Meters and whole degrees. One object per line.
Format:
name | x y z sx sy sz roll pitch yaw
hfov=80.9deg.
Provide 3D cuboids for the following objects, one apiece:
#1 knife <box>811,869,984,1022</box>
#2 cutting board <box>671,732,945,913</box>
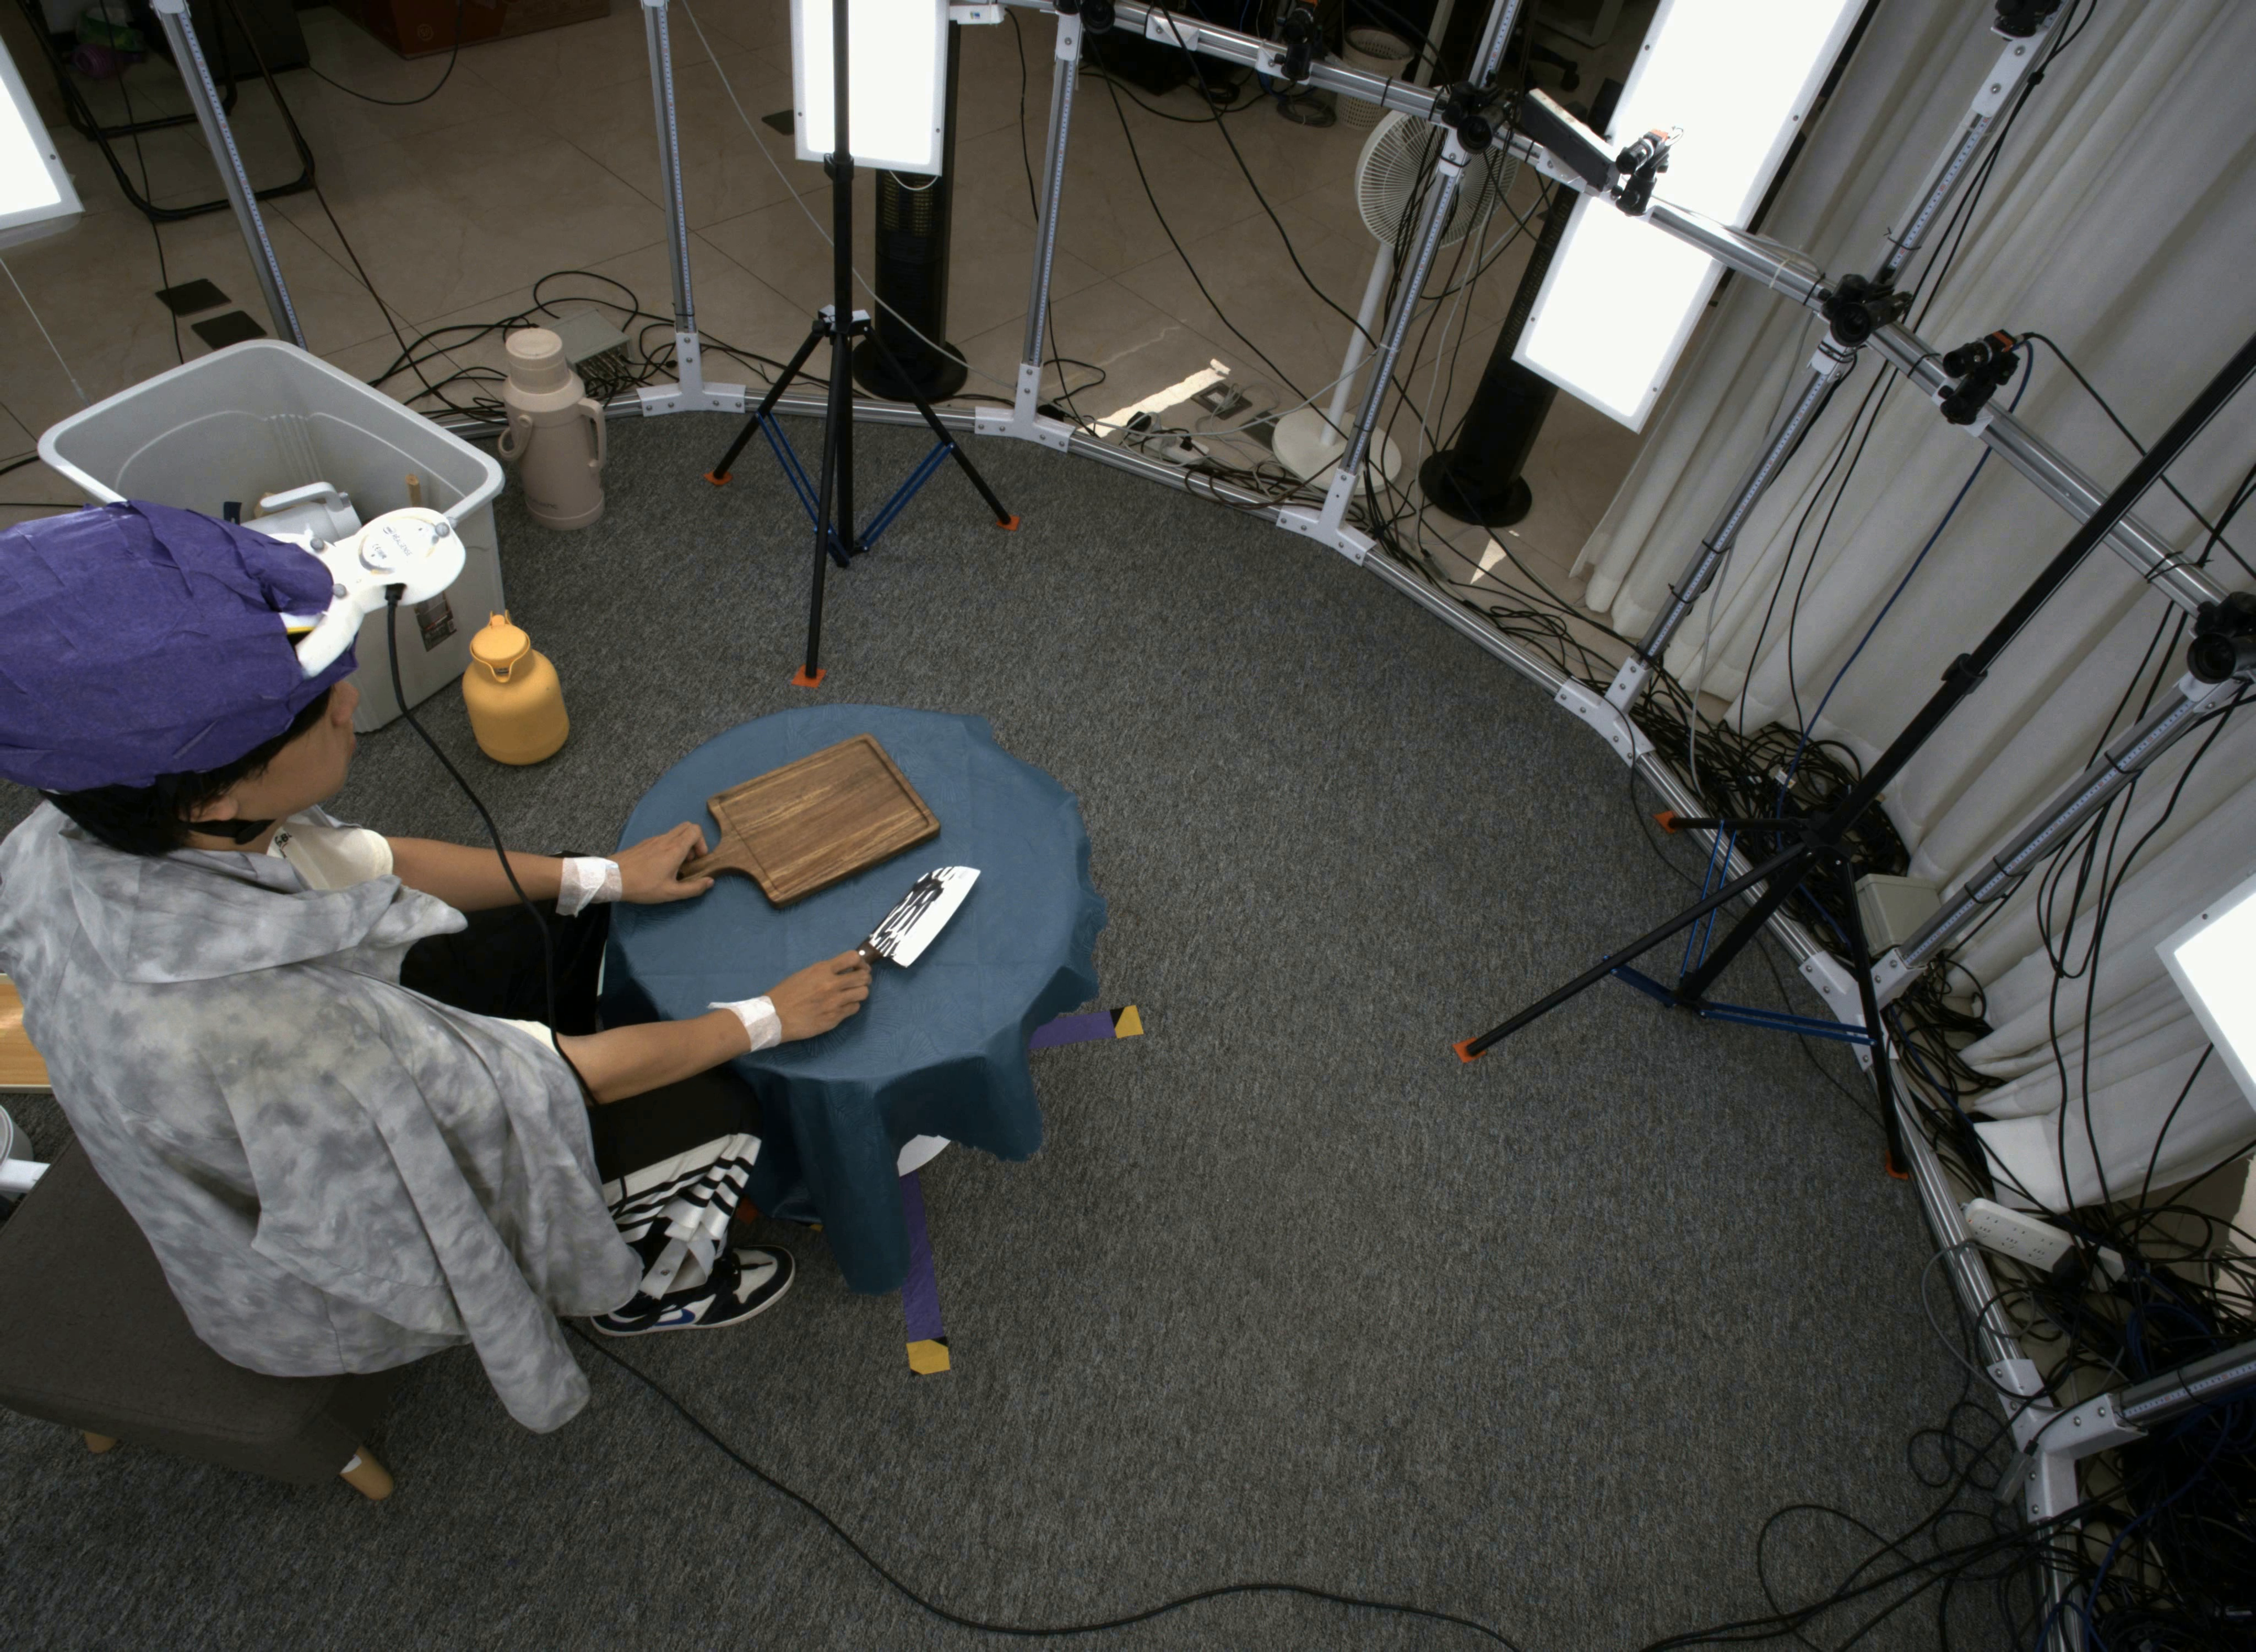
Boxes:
knife | -0.282 0.143 1.624 0.067 0.024 0.298 30 52 11
cutting board | -0.437 0.008 1.704 0.353 0.024 0.196 -28 64 -29
